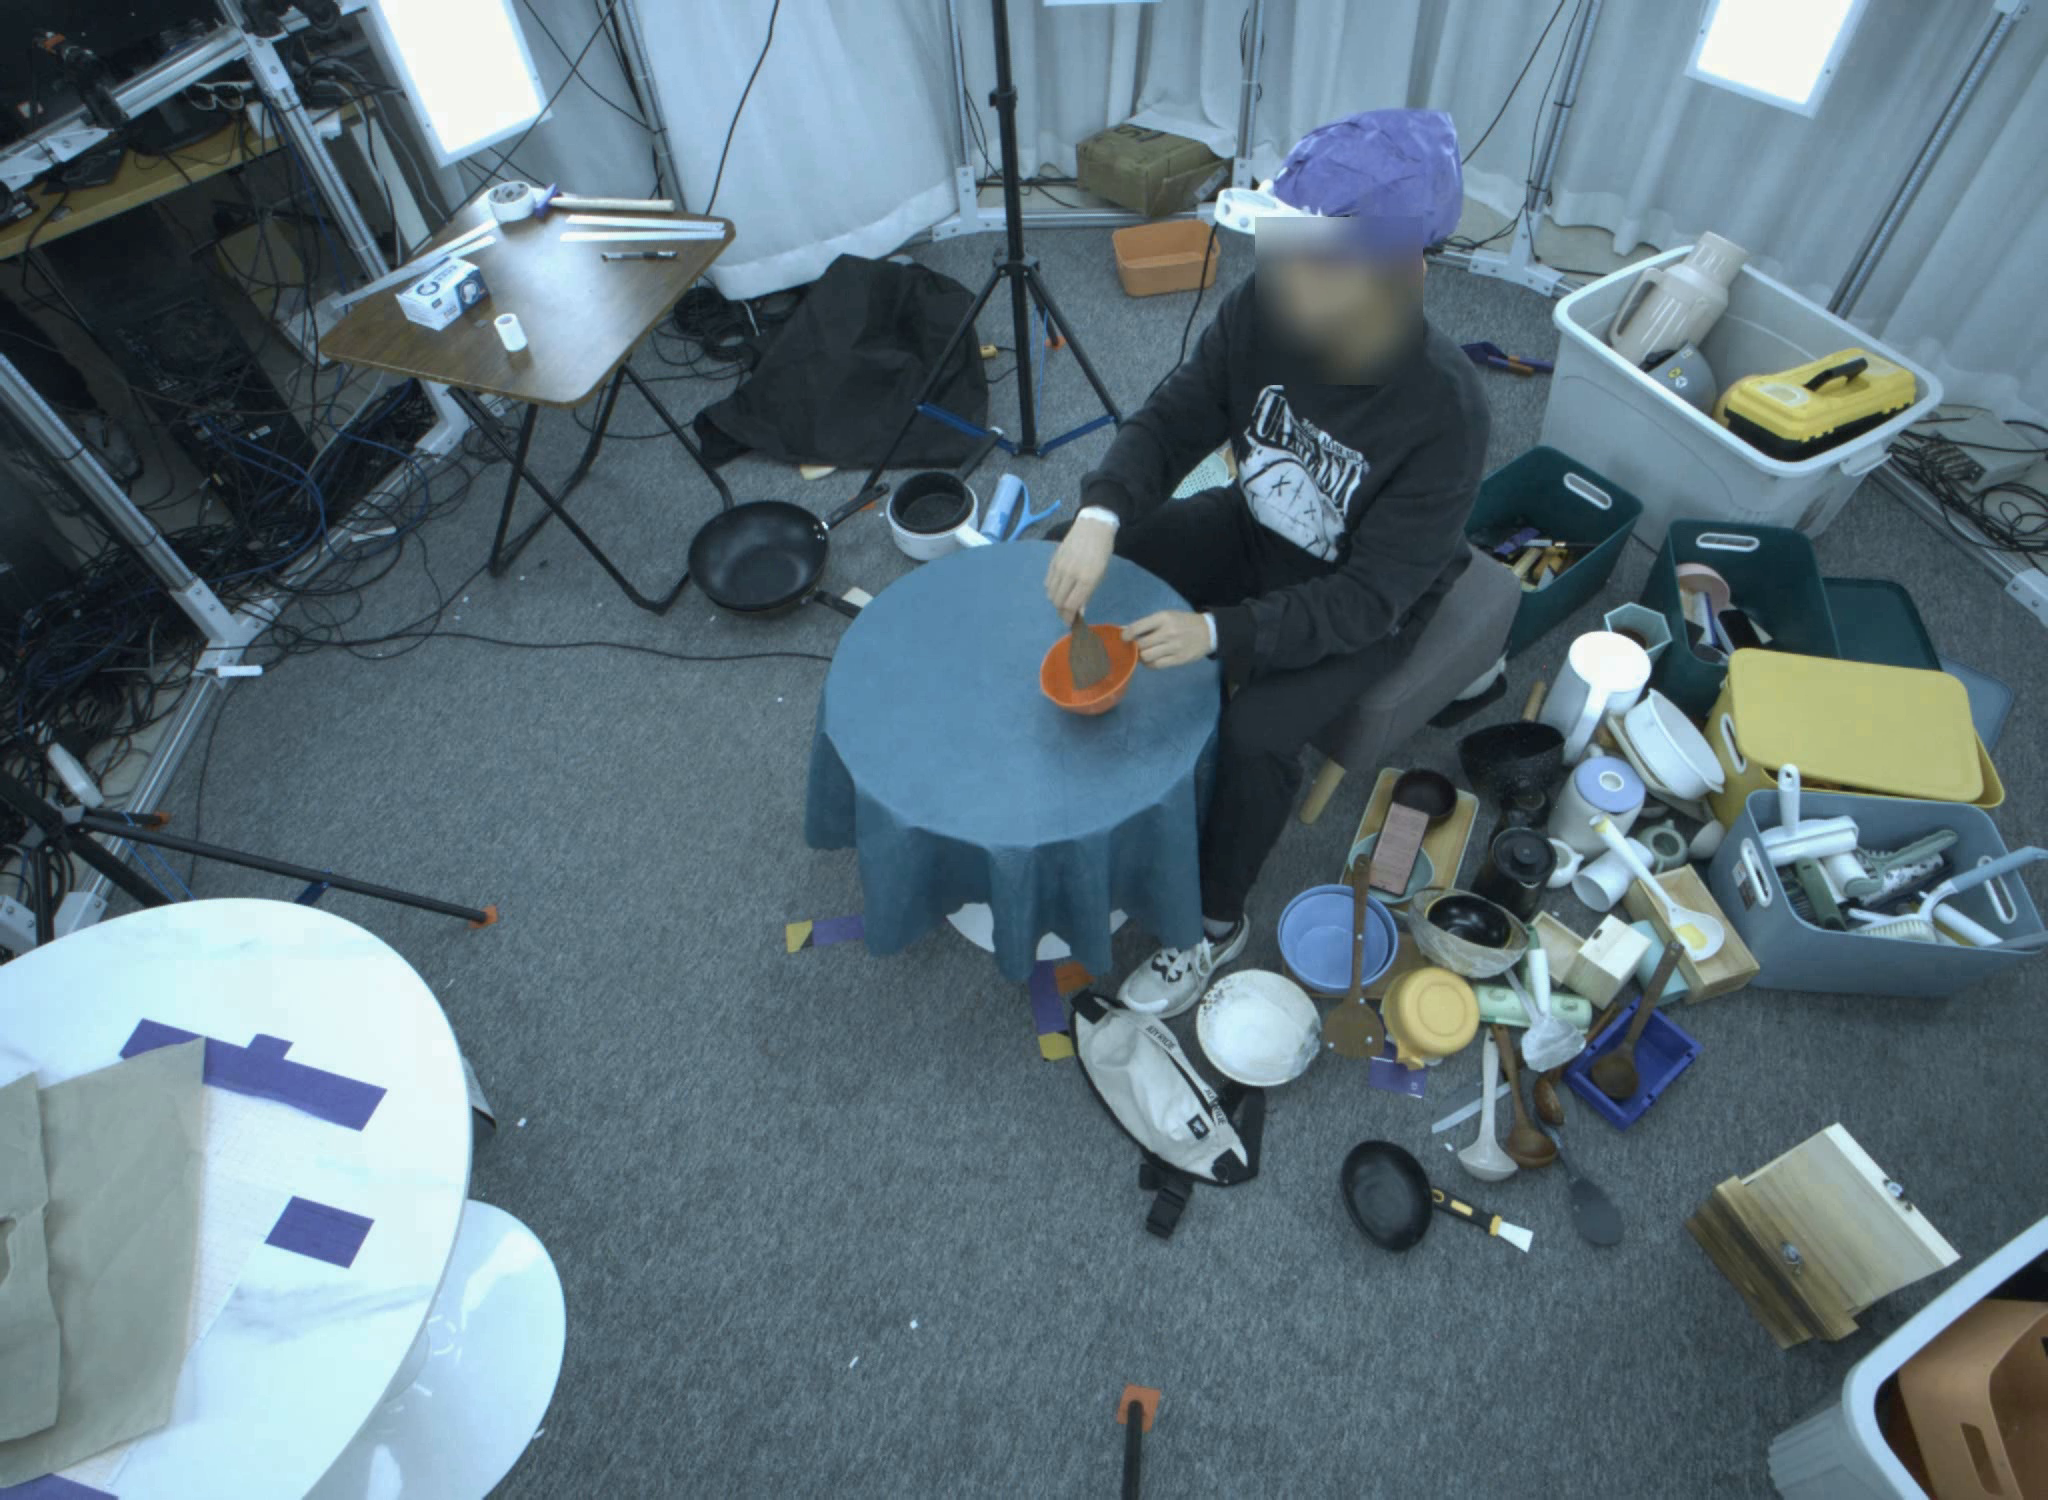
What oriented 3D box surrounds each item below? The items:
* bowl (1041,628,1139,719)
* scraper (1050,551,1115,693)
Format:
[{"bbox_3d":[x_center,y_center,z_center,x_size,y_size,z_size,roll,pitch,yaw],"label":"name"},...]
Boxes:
[{"bbox_3d":[0.103,-0.097,1.793,0.147,0.106,0.146,-7,59,12],"label":"bowl"},{"bbox_3d":[0.076,-0.187,1.758,0.011,0.075,0.210,-4,74,-49],"label":"scraper"}]
